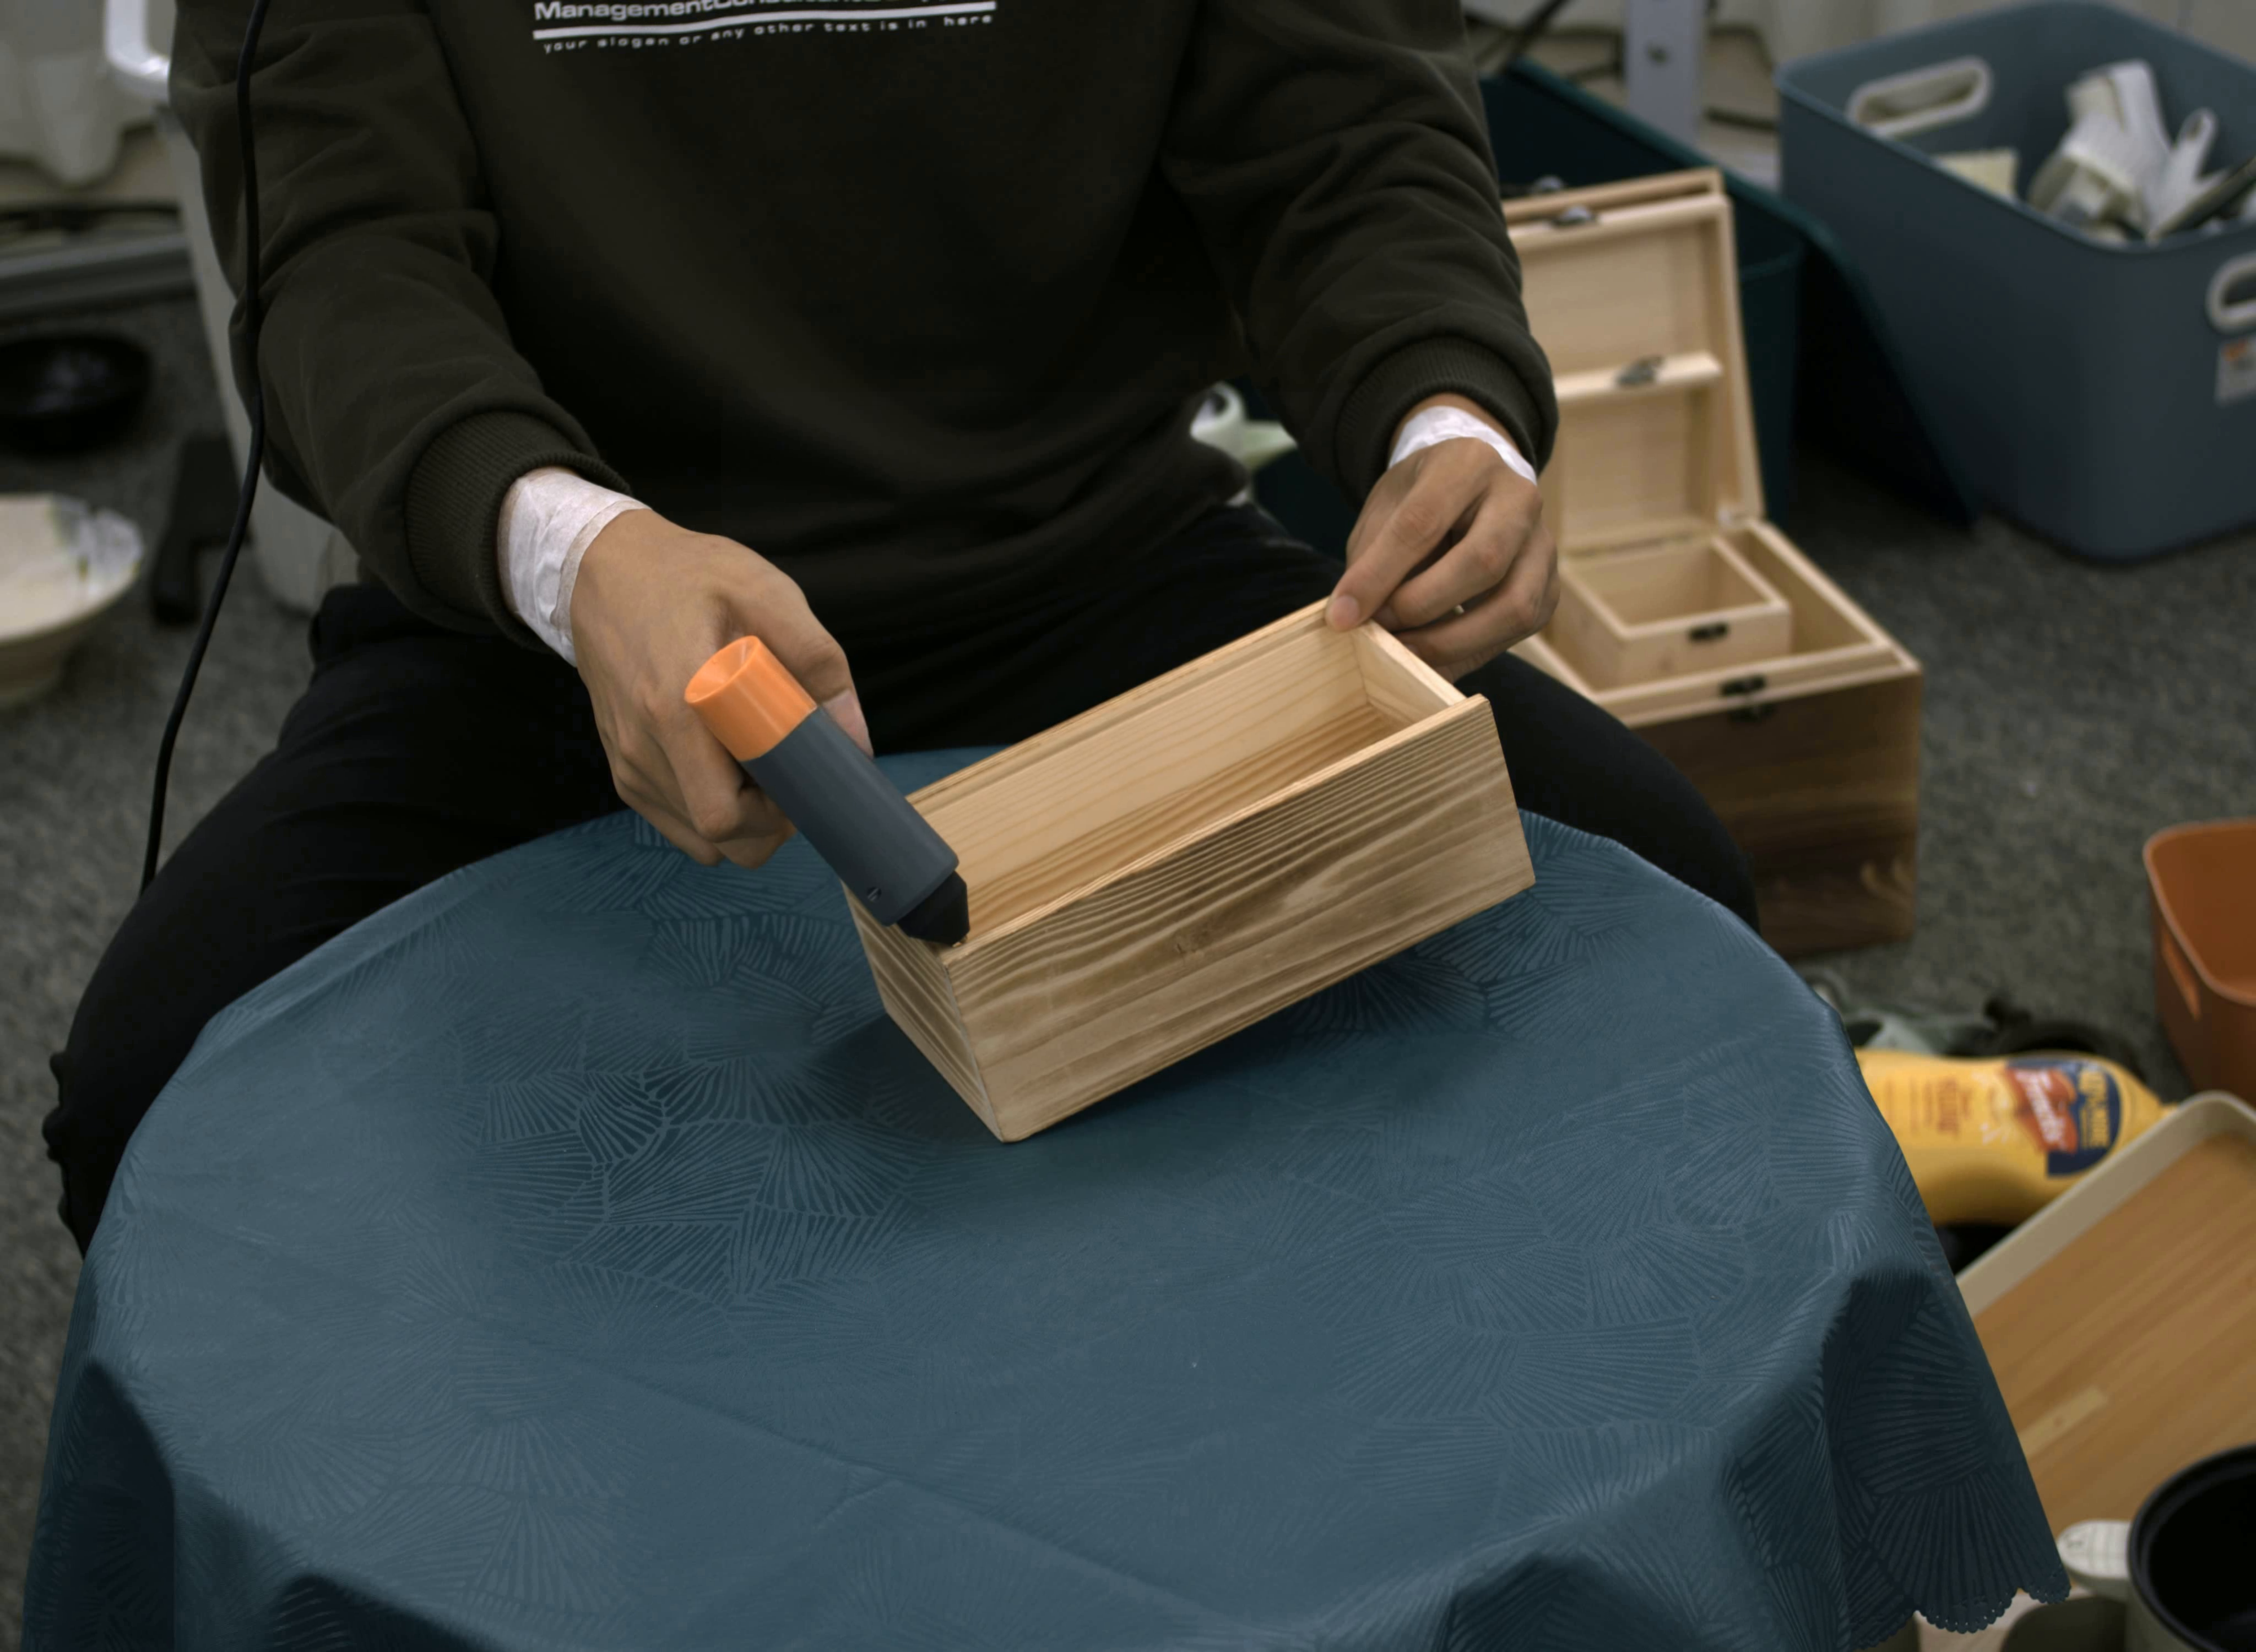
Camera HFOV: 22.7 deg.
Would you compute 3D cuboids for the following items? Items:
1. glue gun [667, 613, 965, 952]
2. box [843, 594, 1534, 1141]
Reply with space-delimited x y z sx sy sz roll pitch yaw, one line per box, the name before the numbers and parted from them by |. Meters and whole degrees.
glue gun | -0.107 -0.018 1.899 0.041 0.117 0.140 -40 22 -3
box | 0.018 0.012 1.947 0.212 0.079 0.108 -26 32 -15
